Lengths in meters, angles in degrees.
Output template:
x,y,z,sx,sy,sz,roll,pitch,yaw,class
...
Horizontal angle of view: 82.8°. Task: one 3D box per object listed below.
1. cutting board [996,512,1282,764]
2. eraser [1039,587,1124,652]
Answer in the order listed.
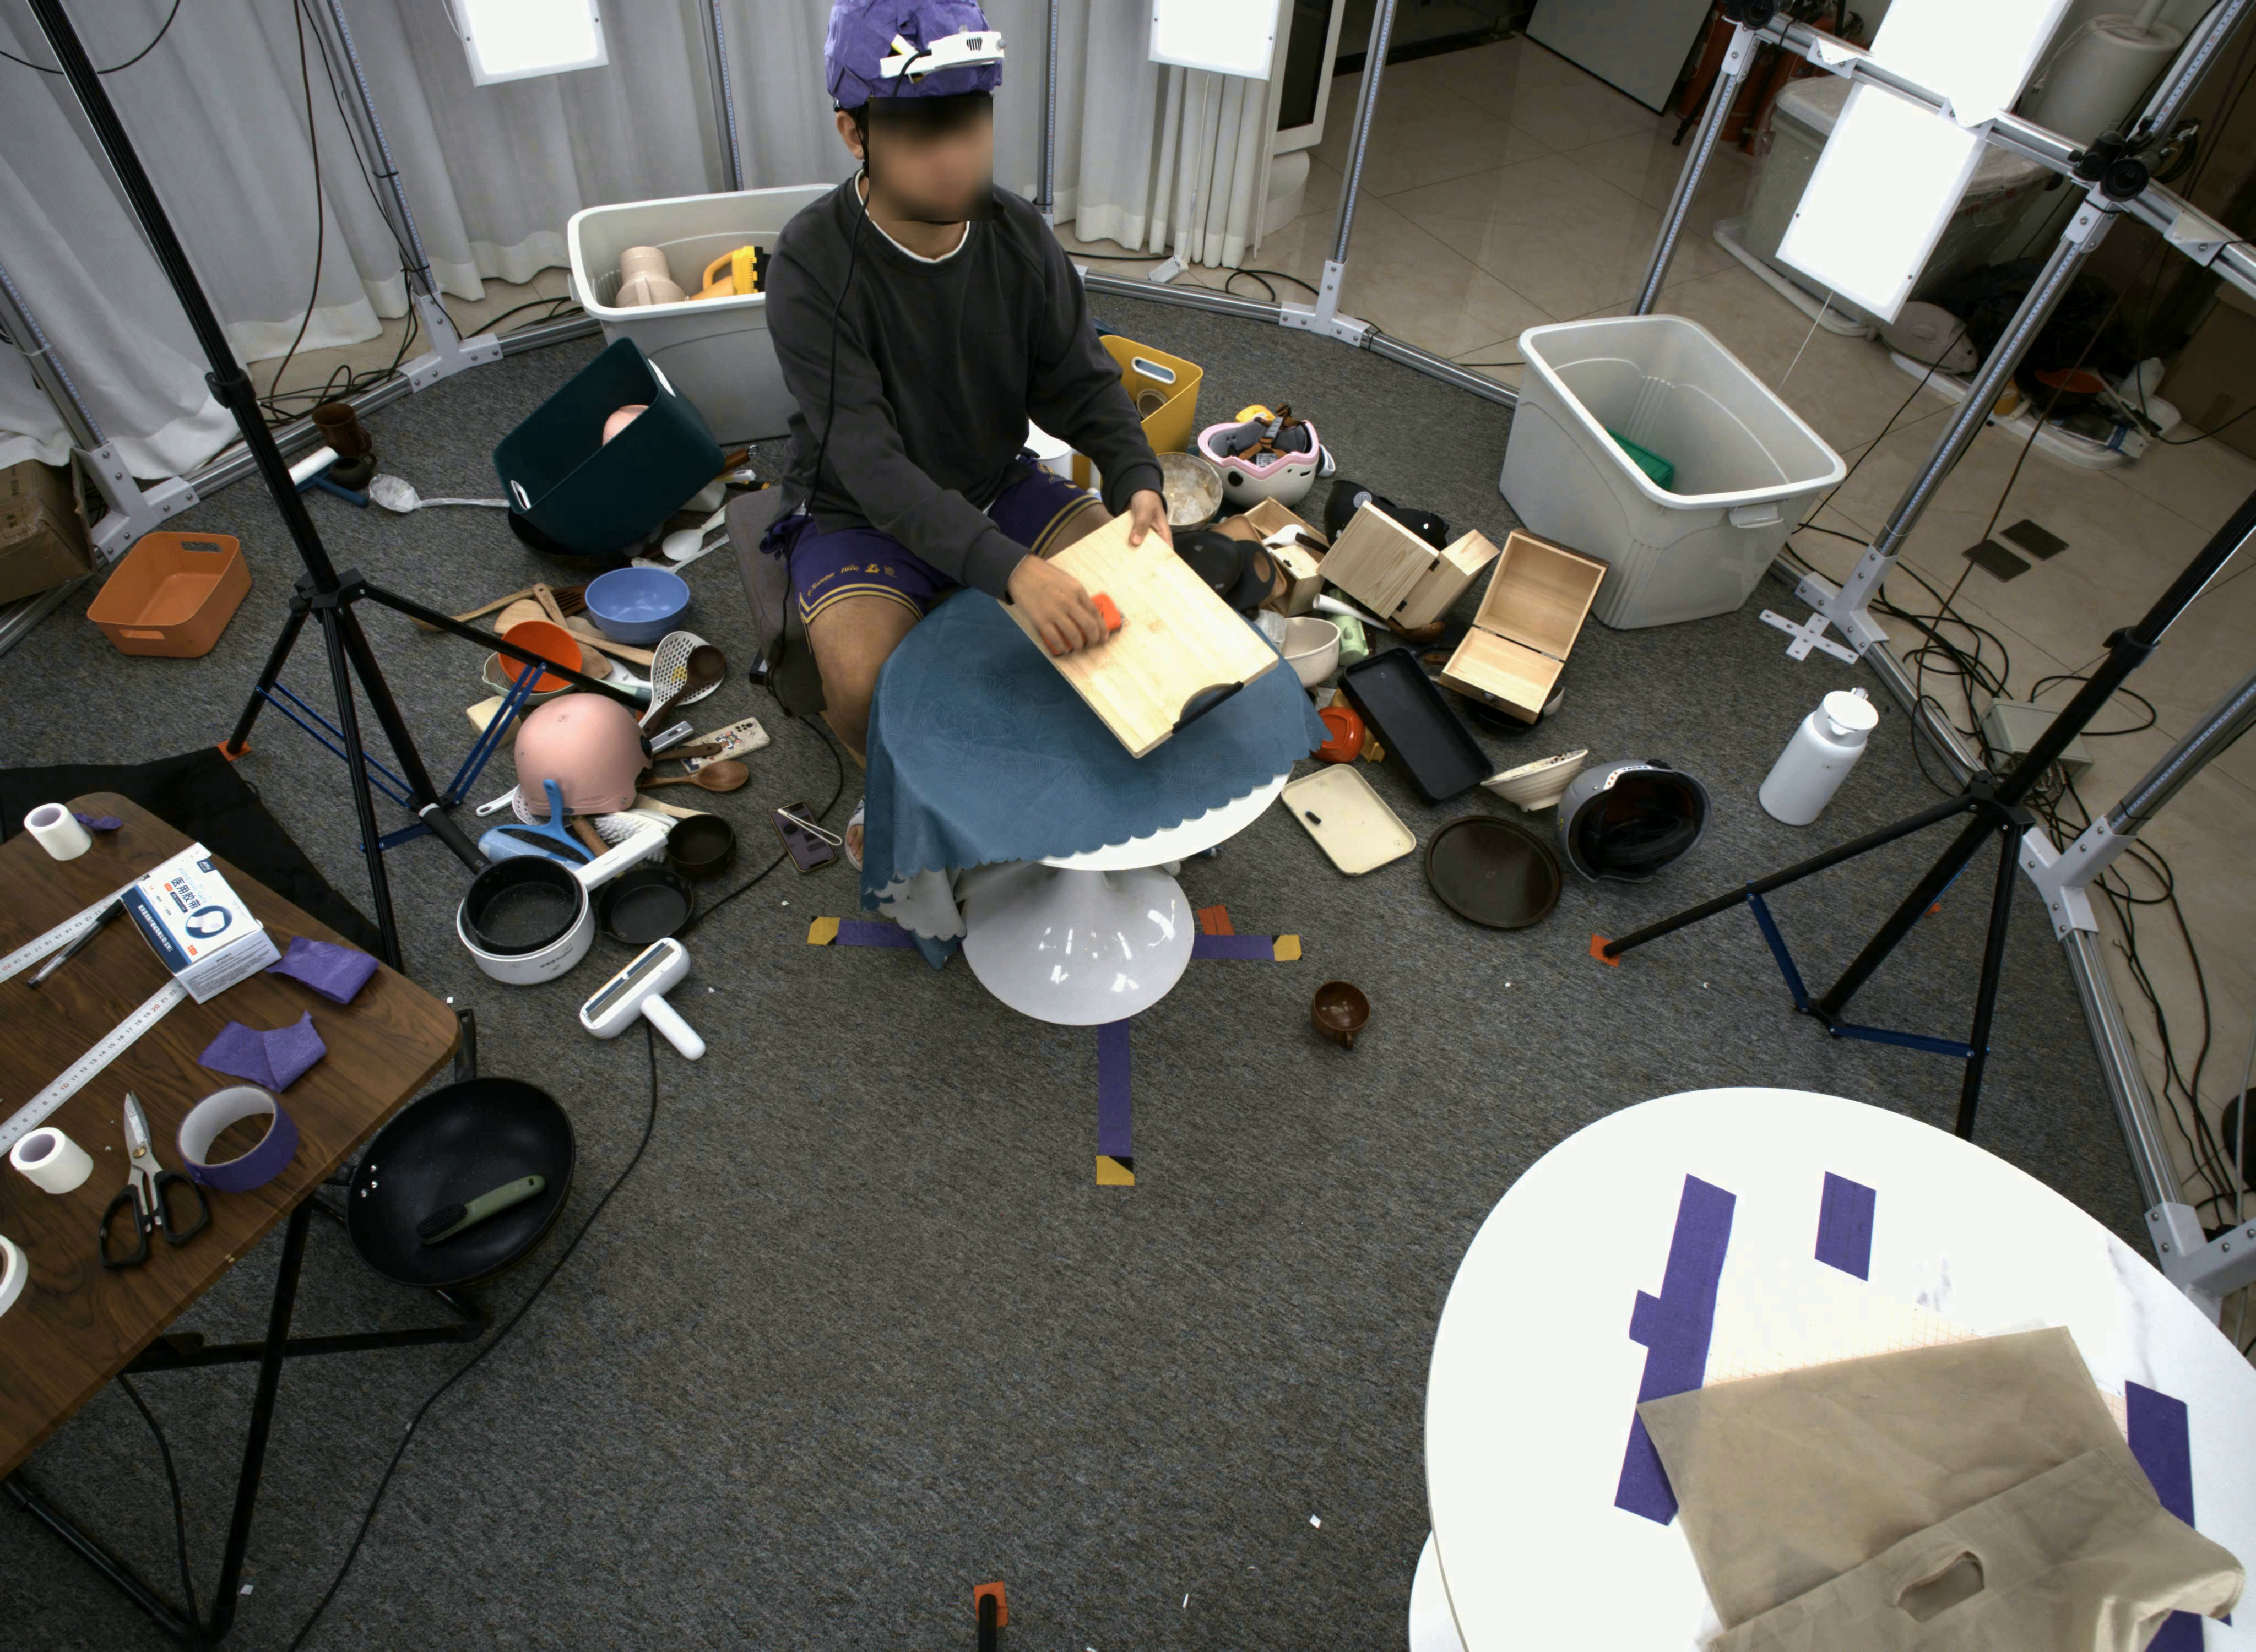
x,y,z,sx,sy,sz,roll,pitch,yaw,class
0.011,-0.269,1.767,0.252,0.023,0.355,-34,62,-13,cutting board
-0.064,-0.283,1.760,0.108,0.022,0.060,-25,61,-9,eraser
